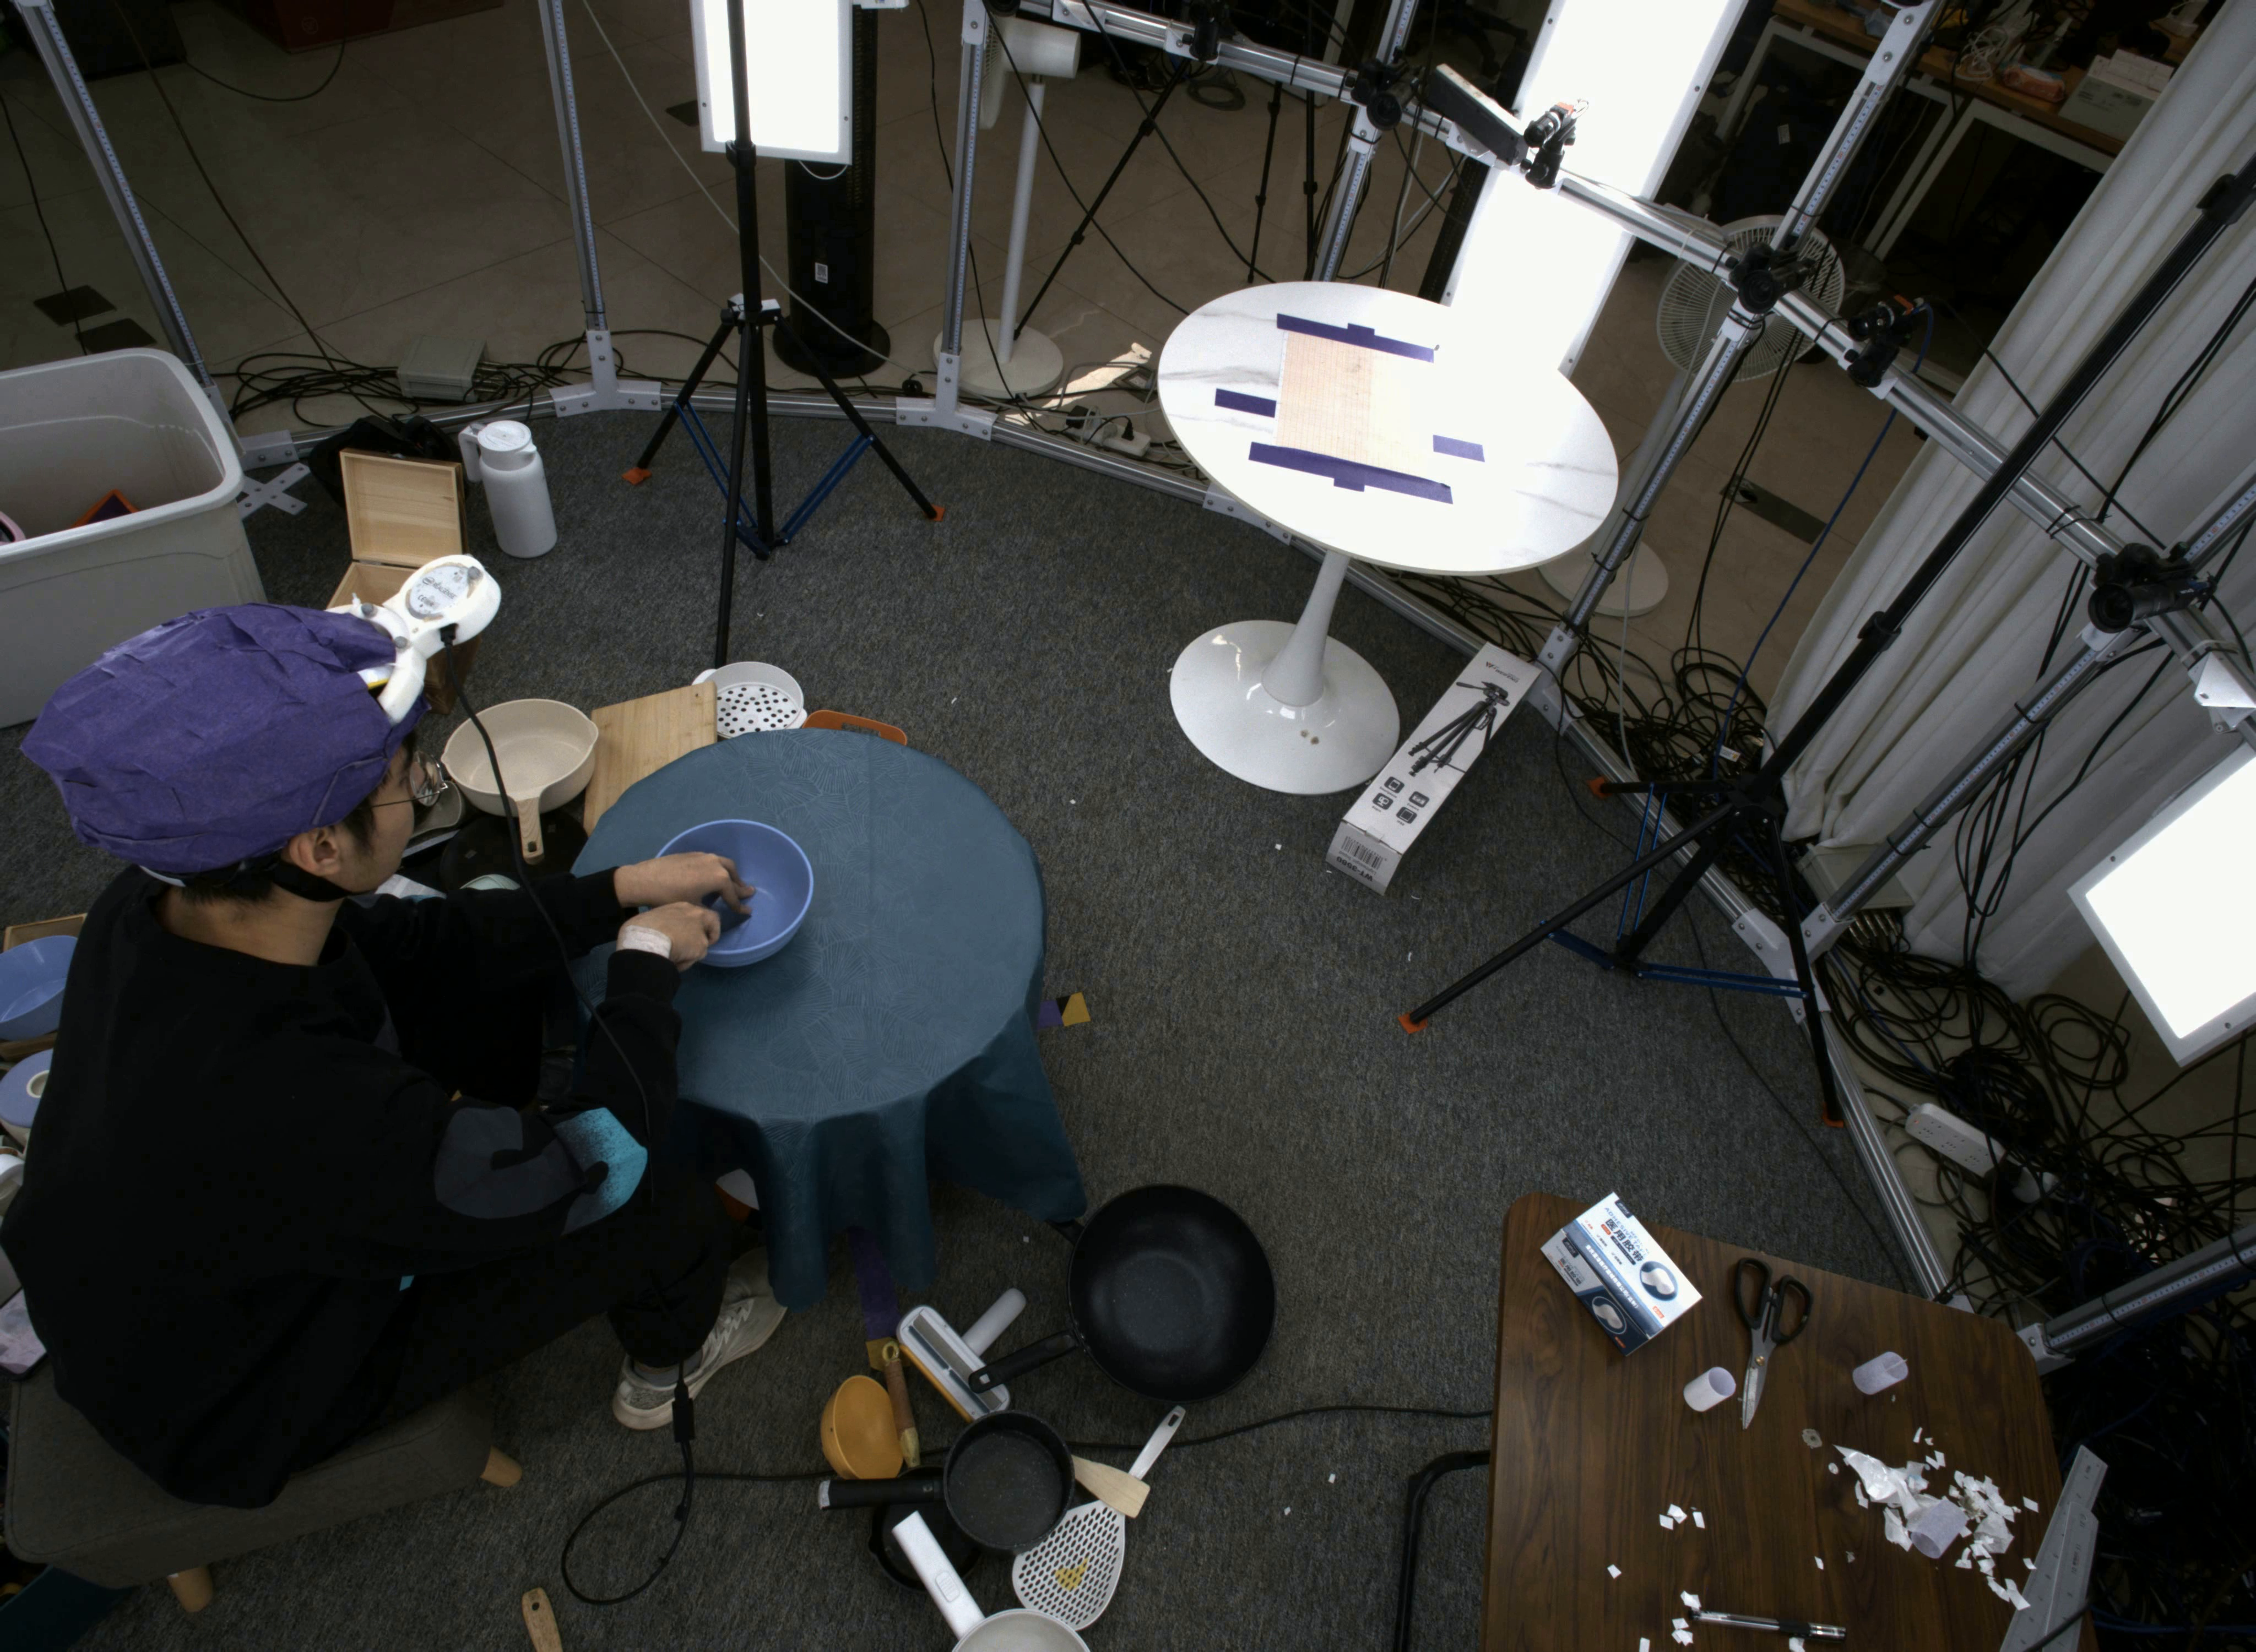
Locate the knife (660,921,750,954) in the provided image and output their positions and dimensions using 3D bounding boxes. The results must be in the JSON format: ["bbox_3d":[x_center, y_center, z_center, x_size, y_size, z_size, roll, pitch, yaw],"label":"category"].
[{"bbox_3d":[-0.484,0.121,1.495,0.017,0.226,0.026,19,95,7],"label":"knife"}]

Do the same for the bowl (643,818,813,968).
[{"bbox_3d":[-0.481,0.095,1.562,0.196,0.097,0.193,9,49,-9],"label":"bowl"}]
